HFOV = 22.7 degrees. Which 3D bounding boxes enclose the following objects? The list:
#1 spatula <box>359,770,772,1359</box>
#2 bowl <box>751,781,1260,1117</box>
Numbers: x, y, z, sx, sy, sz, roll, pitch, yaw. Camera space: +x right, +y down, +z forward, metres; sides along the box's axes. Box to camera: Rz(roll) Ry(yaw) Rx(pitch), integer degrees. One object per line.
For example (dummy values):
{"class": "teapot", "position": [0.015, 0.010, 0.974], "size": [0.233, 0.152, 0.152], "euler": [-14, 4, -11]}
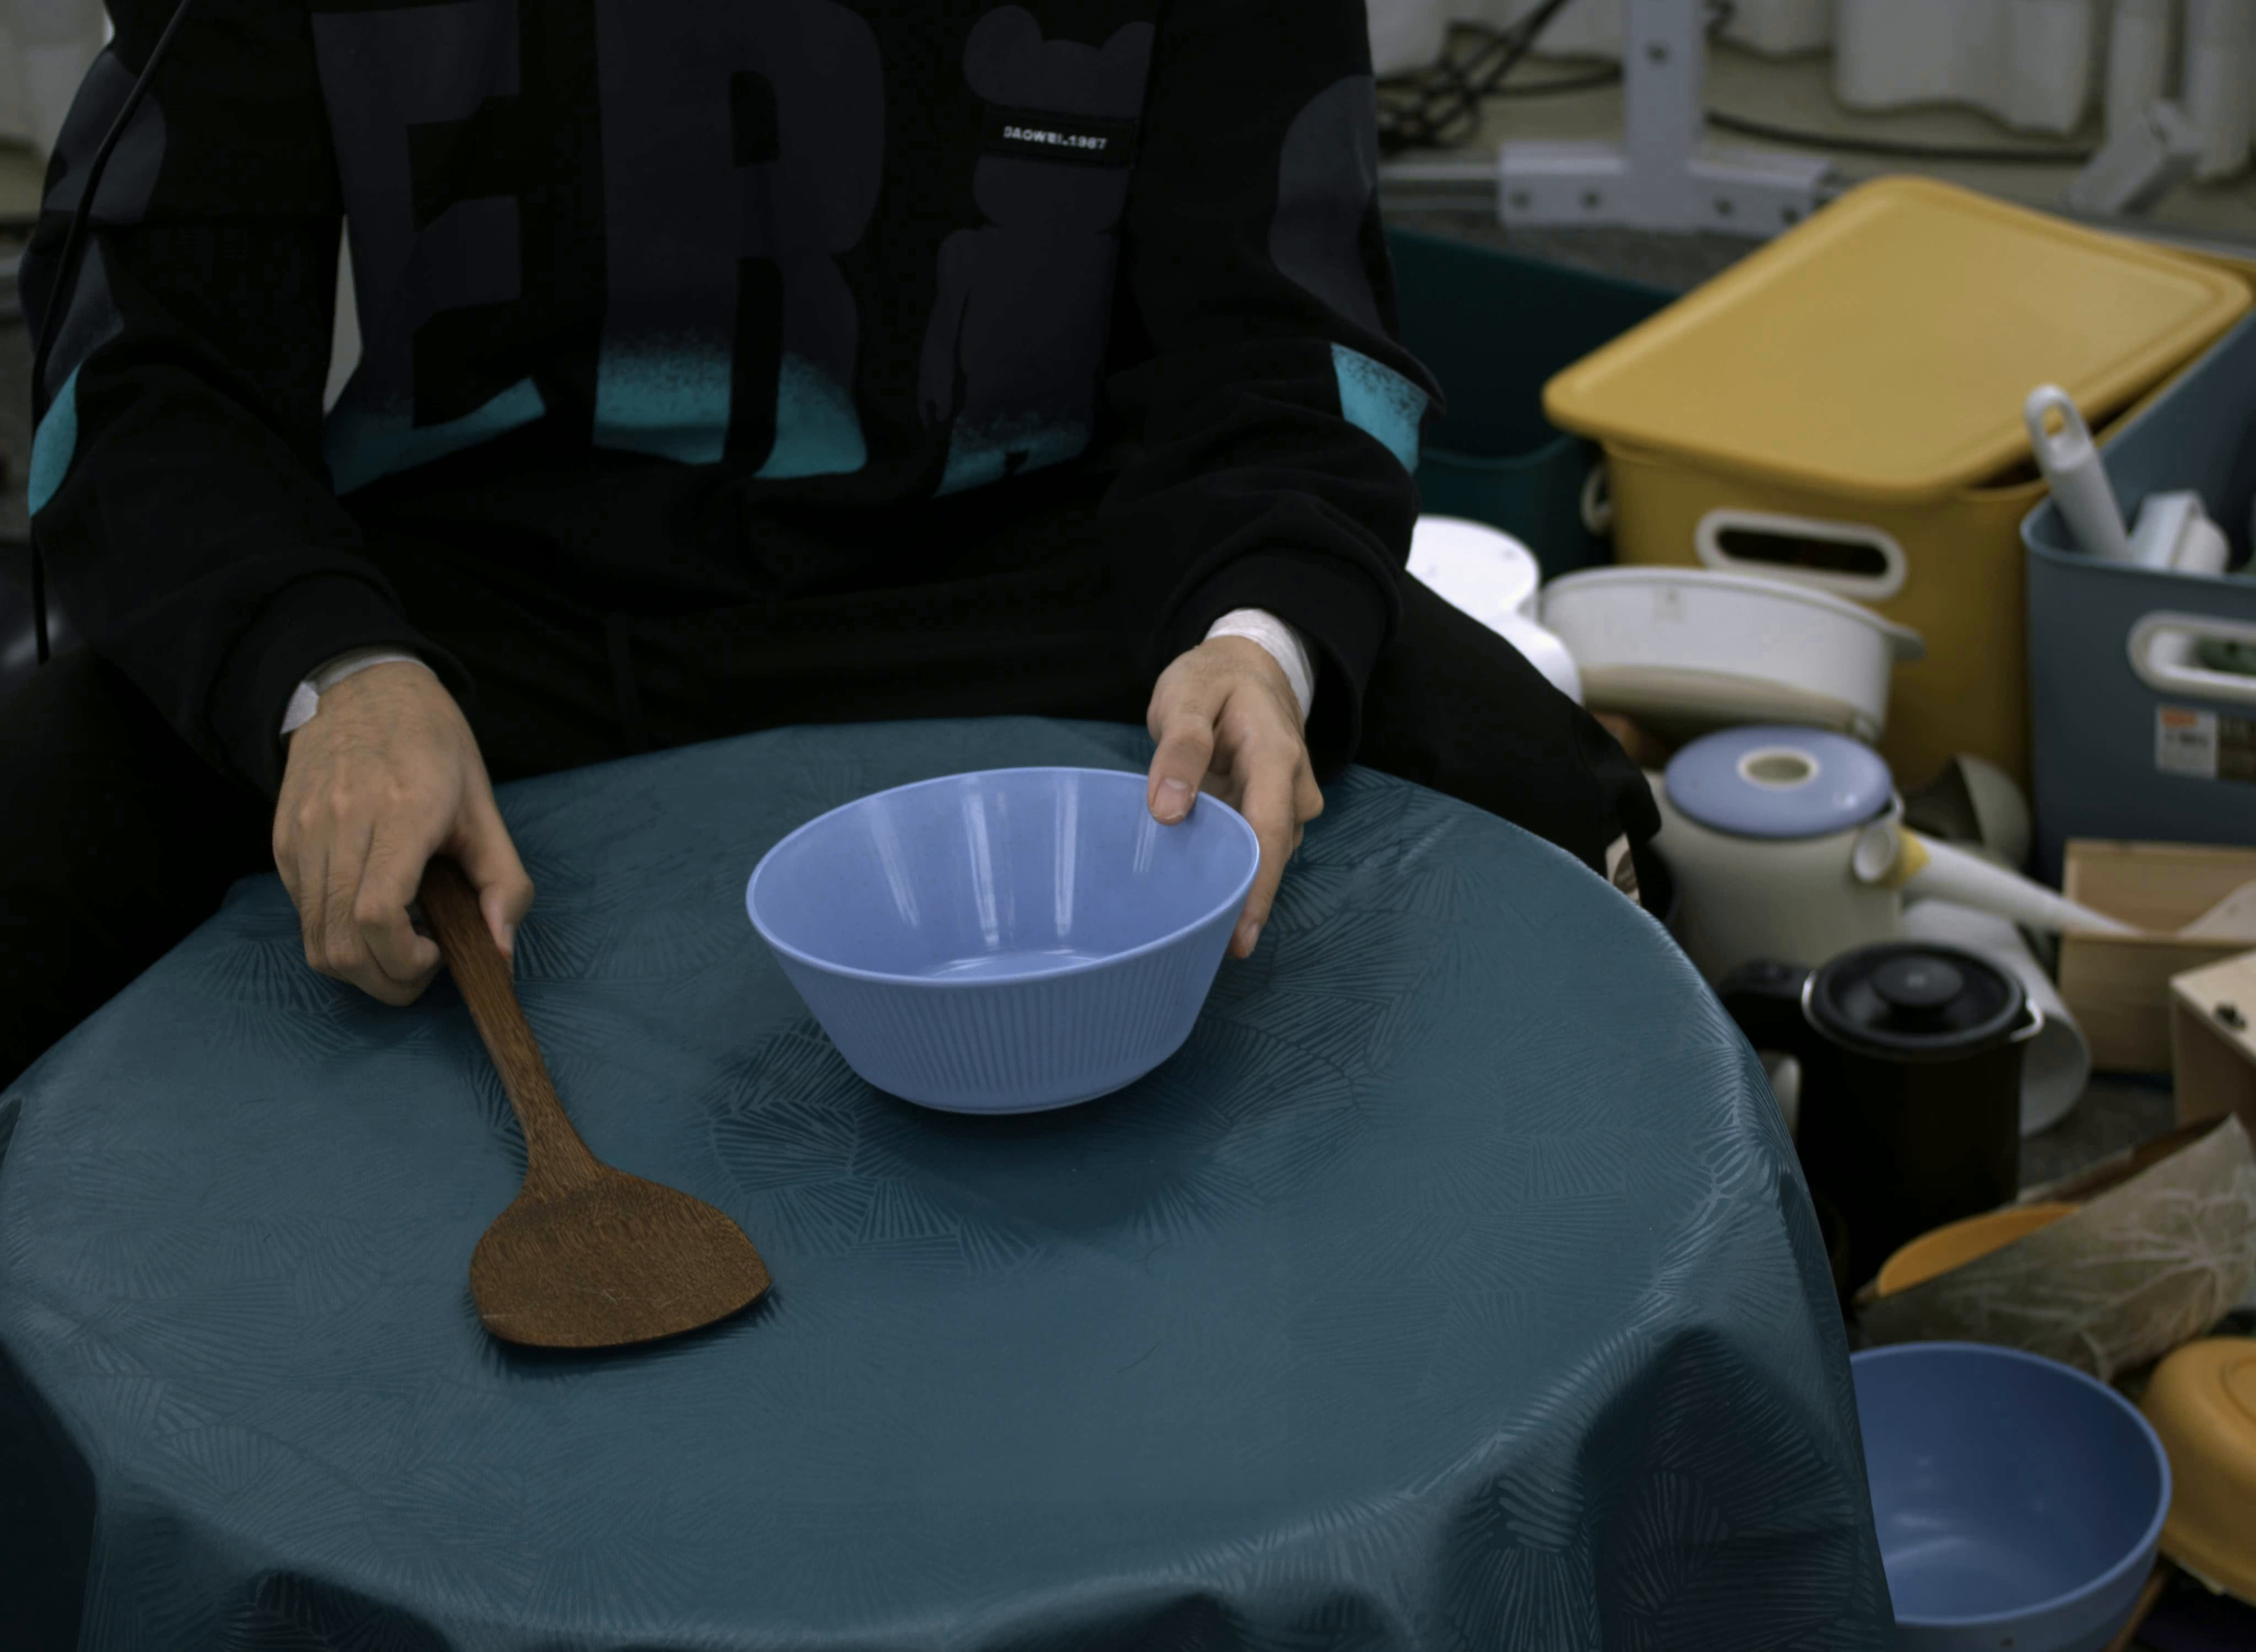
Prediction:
{"class": "spatula", "position": [-0.215, 0.073, 1.941], "size": [0.096, 0.015, 0.390], "euler": [-10, 32, -16]}
{"class": "bowl", "position": [-0.039, 0.046, 1.923], "size": [0.175, 0.070, 0.178], "euler": [-4, 21, 2]}
